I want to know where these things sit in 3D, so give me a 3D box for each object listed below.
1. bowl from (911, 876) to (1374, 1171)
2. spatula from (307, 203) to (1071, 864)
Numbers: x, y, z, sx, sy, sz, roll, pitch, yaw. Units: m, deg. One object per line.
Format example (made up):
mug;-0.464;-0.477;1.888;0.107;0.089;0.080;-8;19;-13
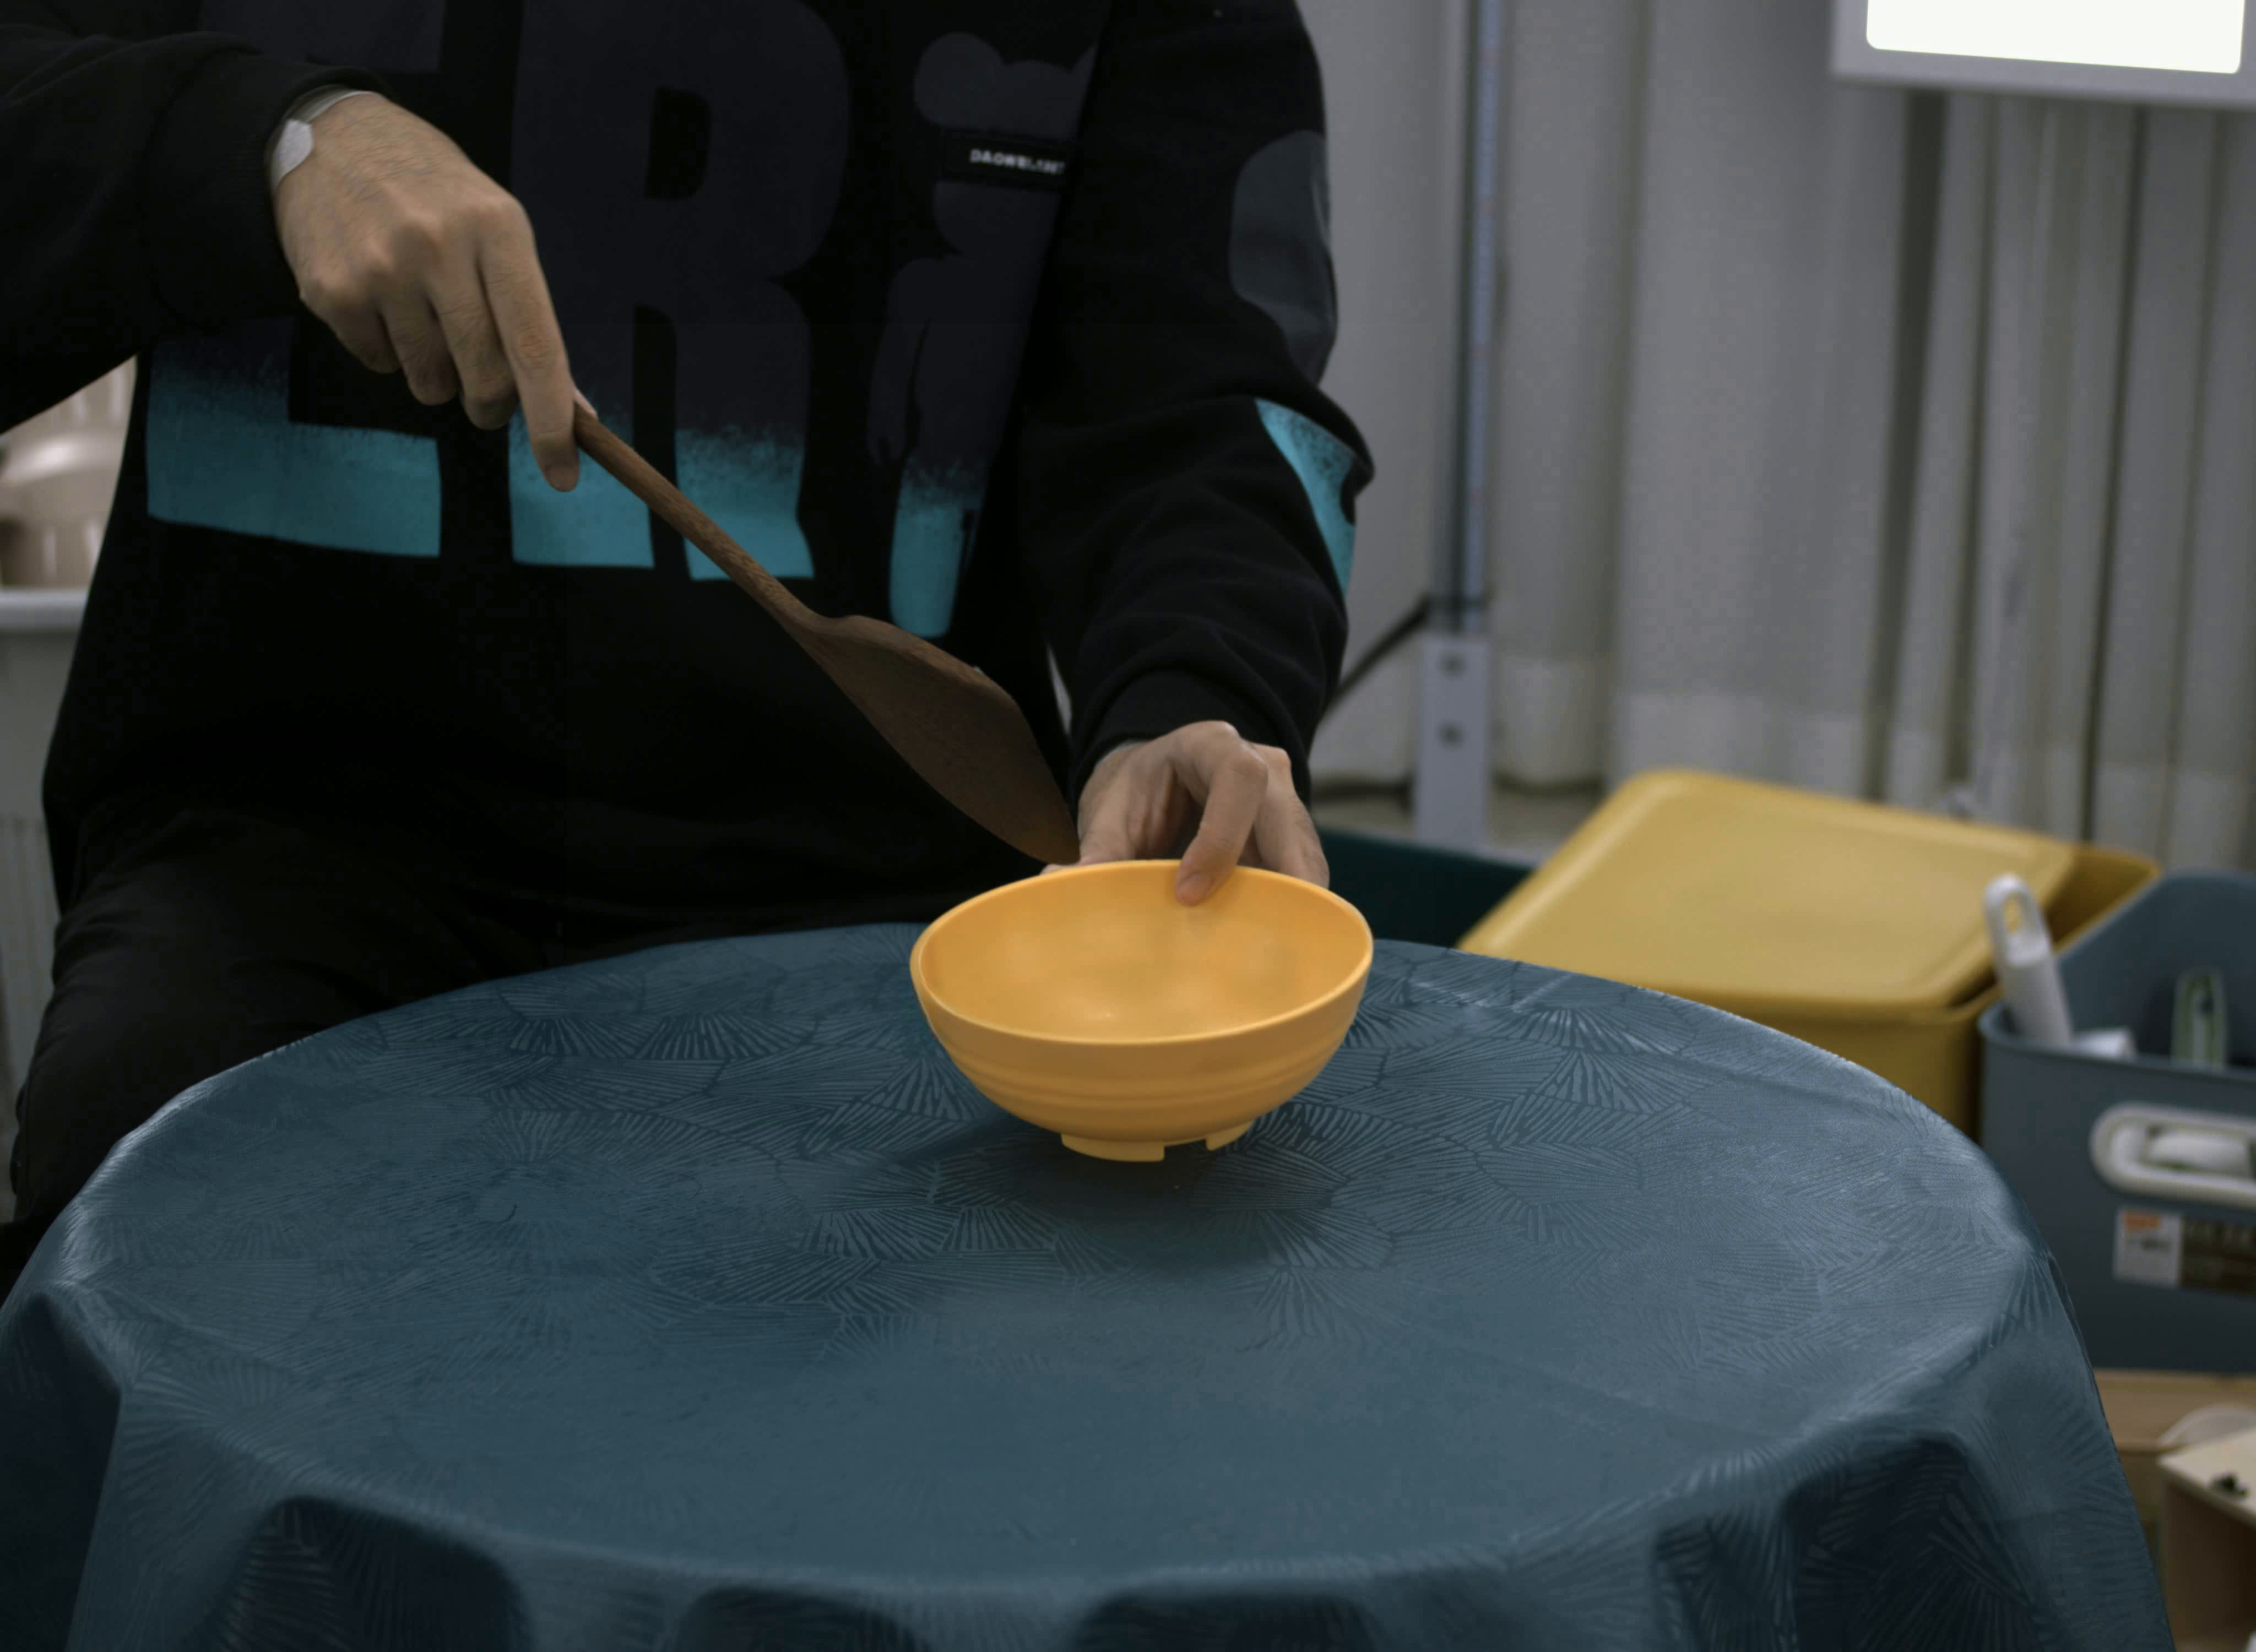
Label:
bowl;0.005;0.068;1.646;0.145;0.060;0.144;0;20;1
spatula;-0.148;-0.106;1.672;0.016;0.097;0.381;-42;56;-14
